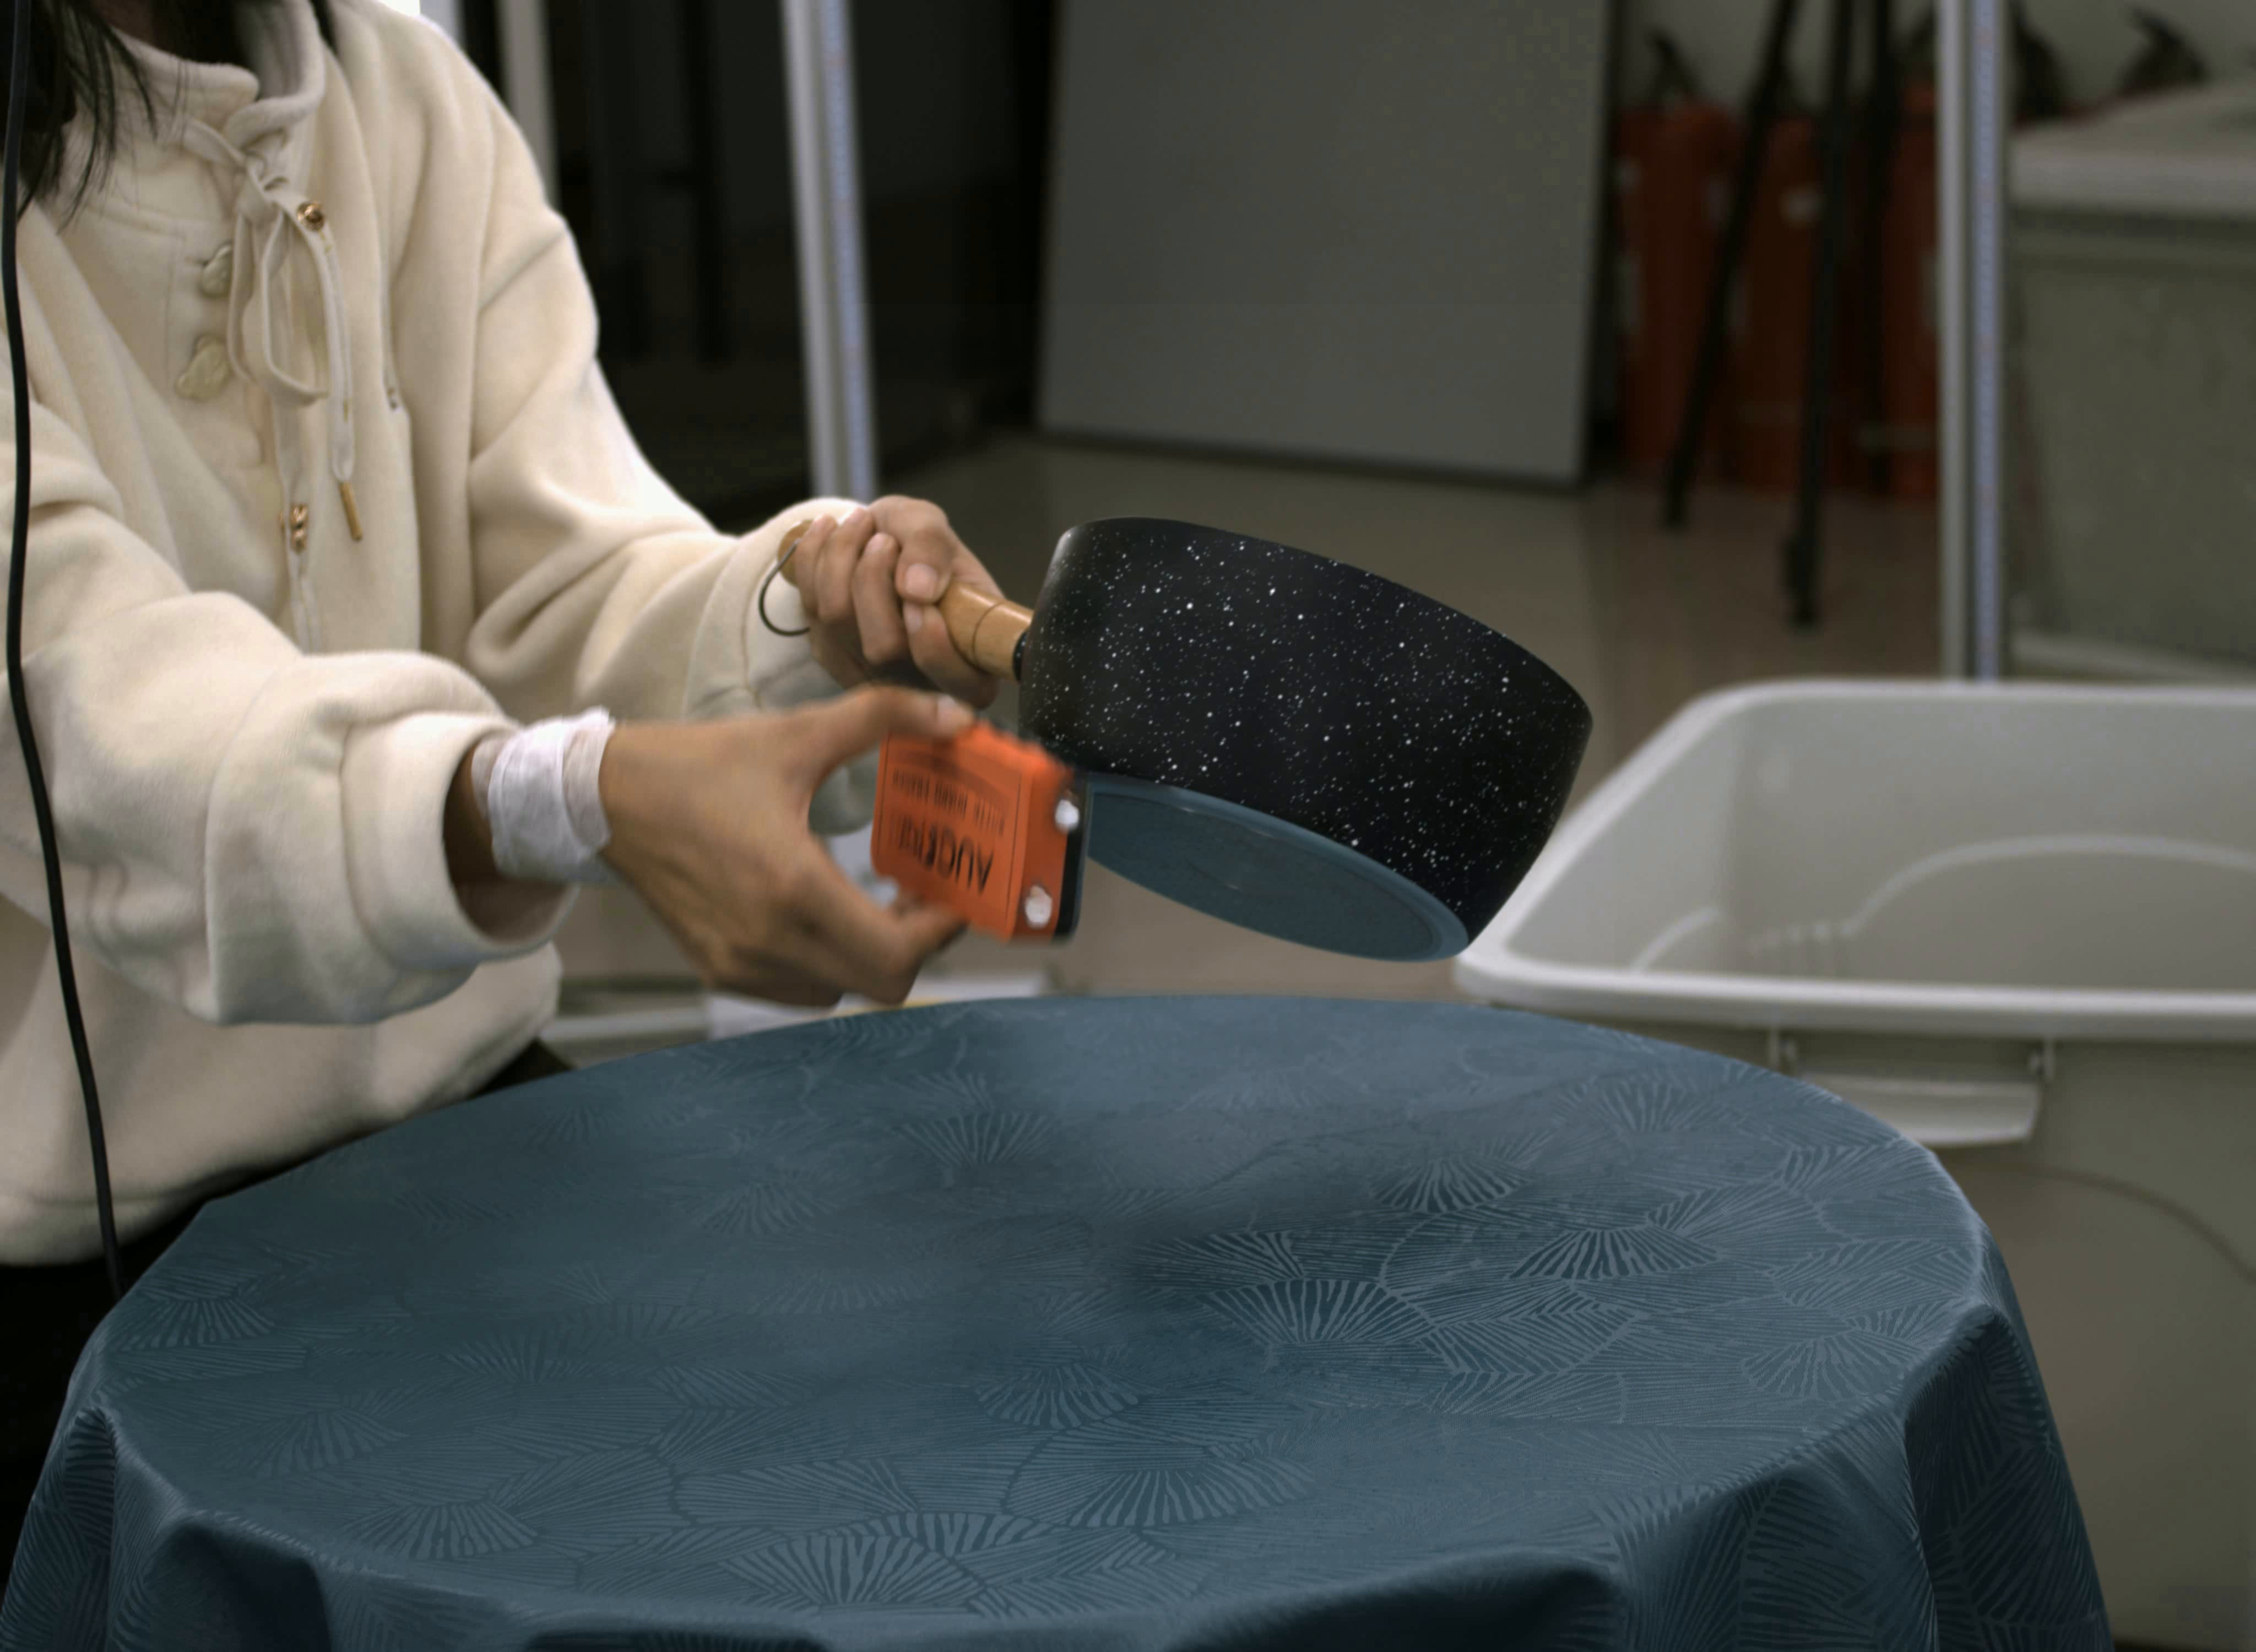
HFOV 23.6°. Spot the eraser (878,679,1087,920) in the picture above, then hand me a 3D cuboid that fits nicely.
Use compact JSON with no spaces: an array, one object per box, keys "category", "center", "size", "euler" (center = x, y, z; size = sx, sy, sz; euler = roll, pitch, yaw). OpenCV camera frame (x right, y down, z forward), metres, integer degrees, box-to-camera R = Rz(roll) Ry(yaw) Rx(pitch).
[{"category":"eraser","center":[-0.046,-0.009,1.677],"size":[0.022,0.060,0.109],"euler":[-1,12,-26]}]

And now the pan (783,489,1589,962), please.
[{"category":"pan","center":[-0.008,-0.043,1.776],"size":[0.346,0.109,0.204],"euler":[10,-17,42]}]
